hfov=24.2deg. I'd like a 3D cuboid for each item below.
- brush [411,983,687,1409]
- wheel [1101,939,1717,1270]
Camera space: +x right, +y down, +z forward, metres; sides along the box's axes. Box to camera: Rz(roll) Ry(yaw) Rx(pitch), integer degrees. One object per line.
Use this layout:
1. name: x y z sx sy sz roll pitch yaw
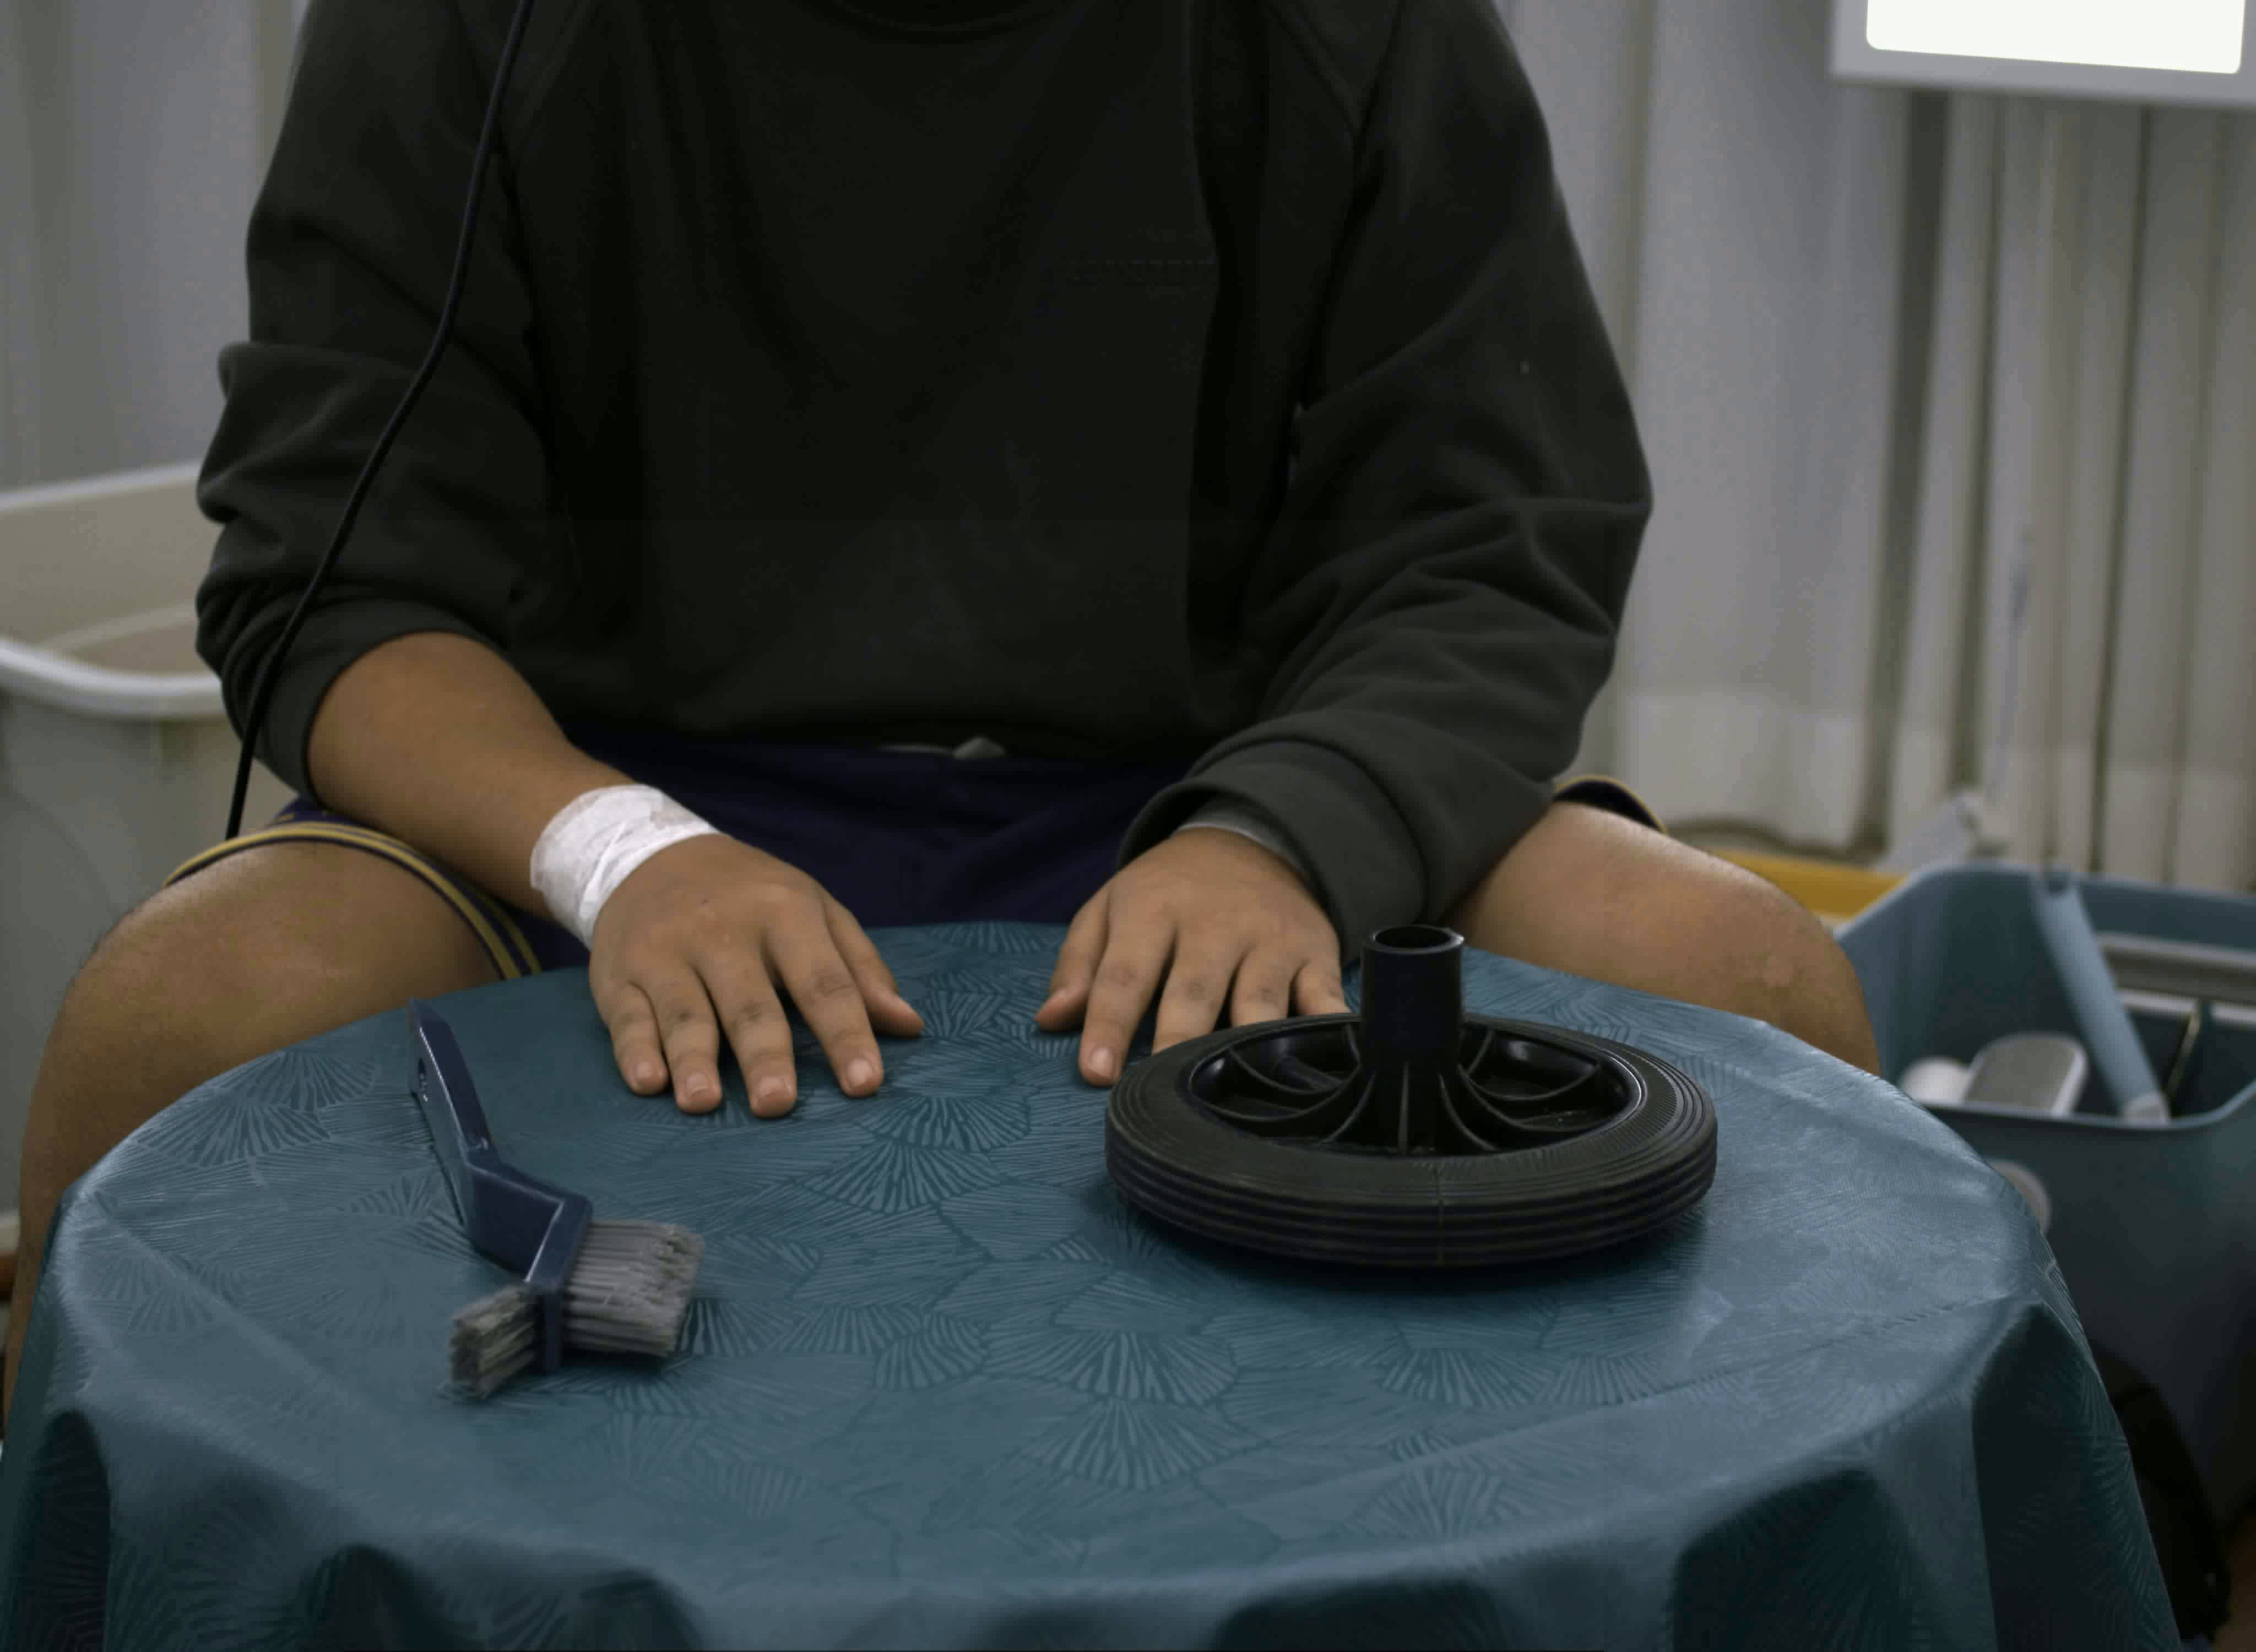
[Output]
1. brush: -0.200 0.106 1.577 0.096 0.034 0.270 -6 18 -21
2. wheel: 0.086 0.076 1.612 0.187 0.080 0.188 9 18 31
